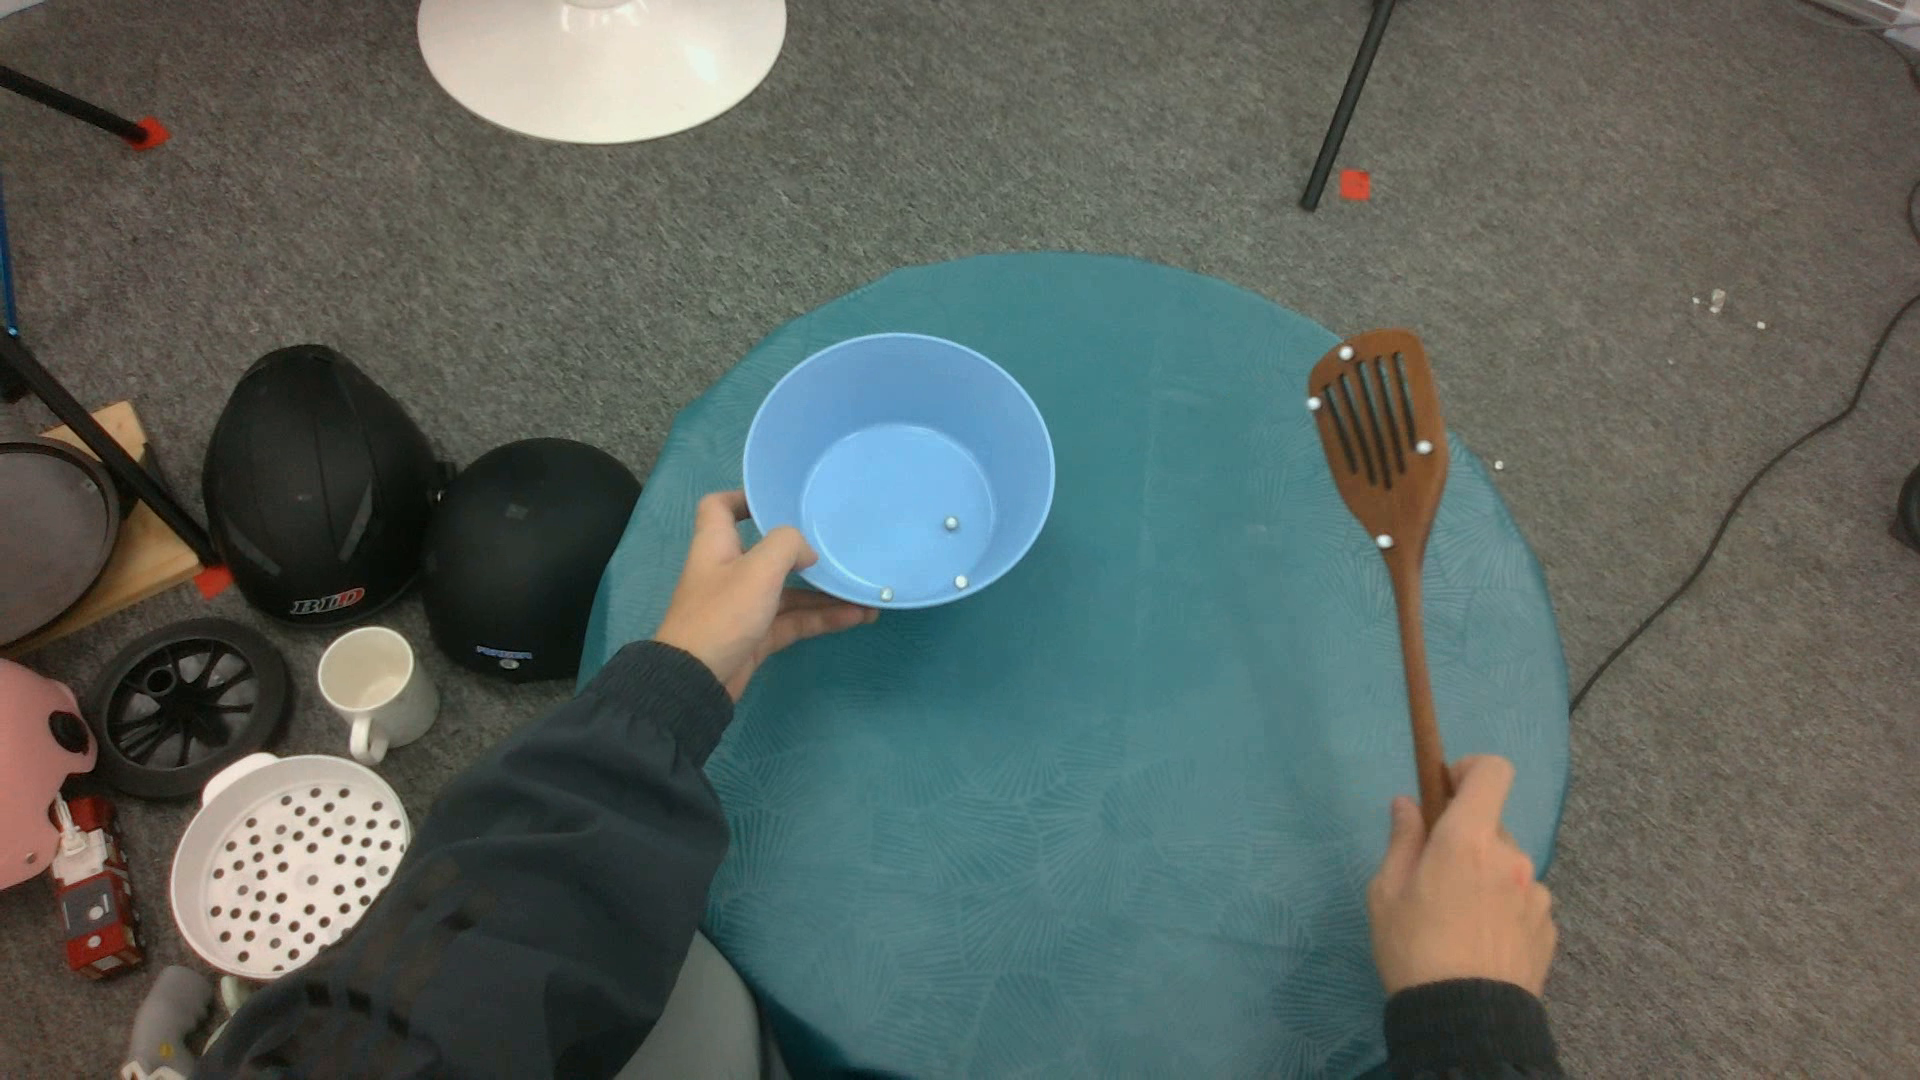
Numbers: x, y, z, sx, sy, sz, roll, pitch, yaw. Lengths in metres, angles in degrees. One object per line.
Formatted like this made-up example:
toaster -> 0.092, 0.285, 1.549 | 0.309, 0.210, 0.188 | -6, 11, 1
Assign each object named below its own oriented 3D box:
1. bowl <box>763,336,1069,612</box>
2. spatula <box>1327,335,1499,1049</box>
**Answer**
bowl -> -0.026, -0.029, 0.815 | 0.176, 0.070, 0.176 | 1, 66, -3
spatula -> 0.257, 0.073, 0.754 | 0.024, 0.085, 0.387 | 7, 72, -30
